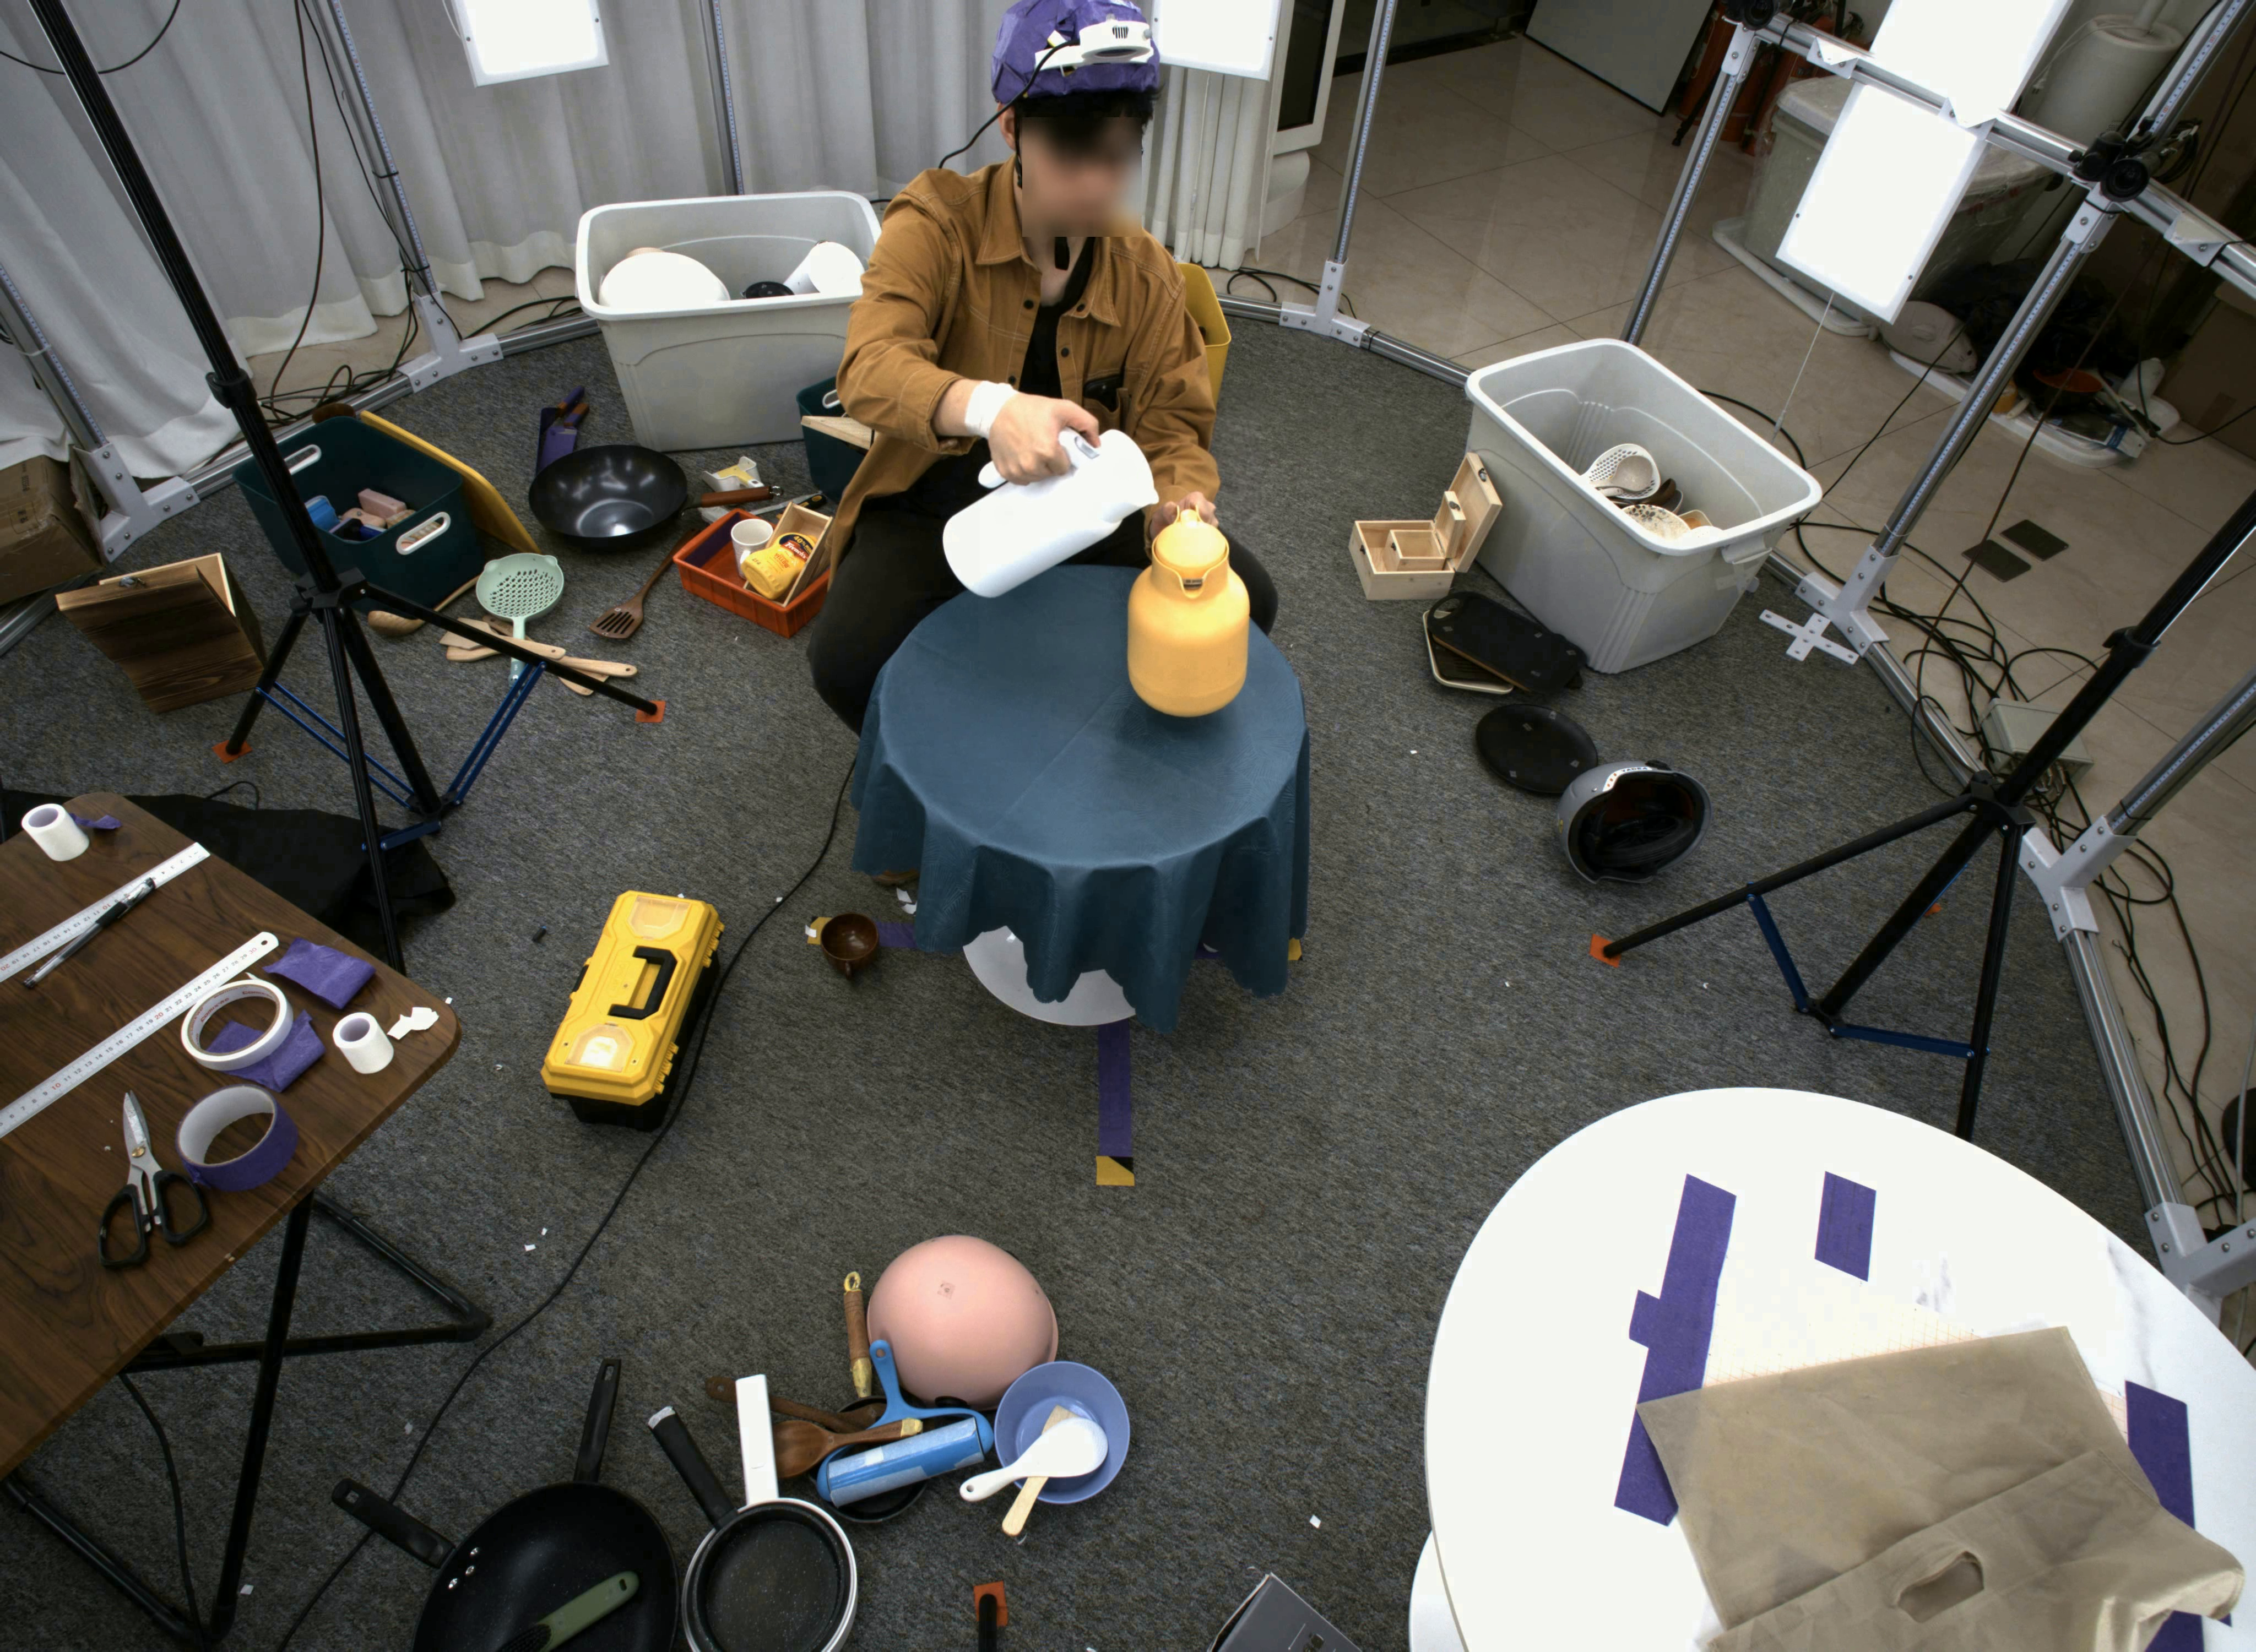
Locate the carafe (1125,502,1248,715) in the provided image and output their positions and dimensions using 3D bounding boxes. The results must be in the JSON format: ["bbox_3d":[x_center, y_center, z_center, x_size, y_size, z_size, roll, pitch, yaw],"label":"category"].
[{"bbox_3d":[0.080,-0.295,1.703,0.163,0.254,0.207,3,52,1],"label":"carafe"}]

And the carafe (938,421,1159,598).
[{"bbox_3d":[-0.116,-0.388,1.572,0.267,0.170,0.126,-19,57,38],"label":"carafe"}]
